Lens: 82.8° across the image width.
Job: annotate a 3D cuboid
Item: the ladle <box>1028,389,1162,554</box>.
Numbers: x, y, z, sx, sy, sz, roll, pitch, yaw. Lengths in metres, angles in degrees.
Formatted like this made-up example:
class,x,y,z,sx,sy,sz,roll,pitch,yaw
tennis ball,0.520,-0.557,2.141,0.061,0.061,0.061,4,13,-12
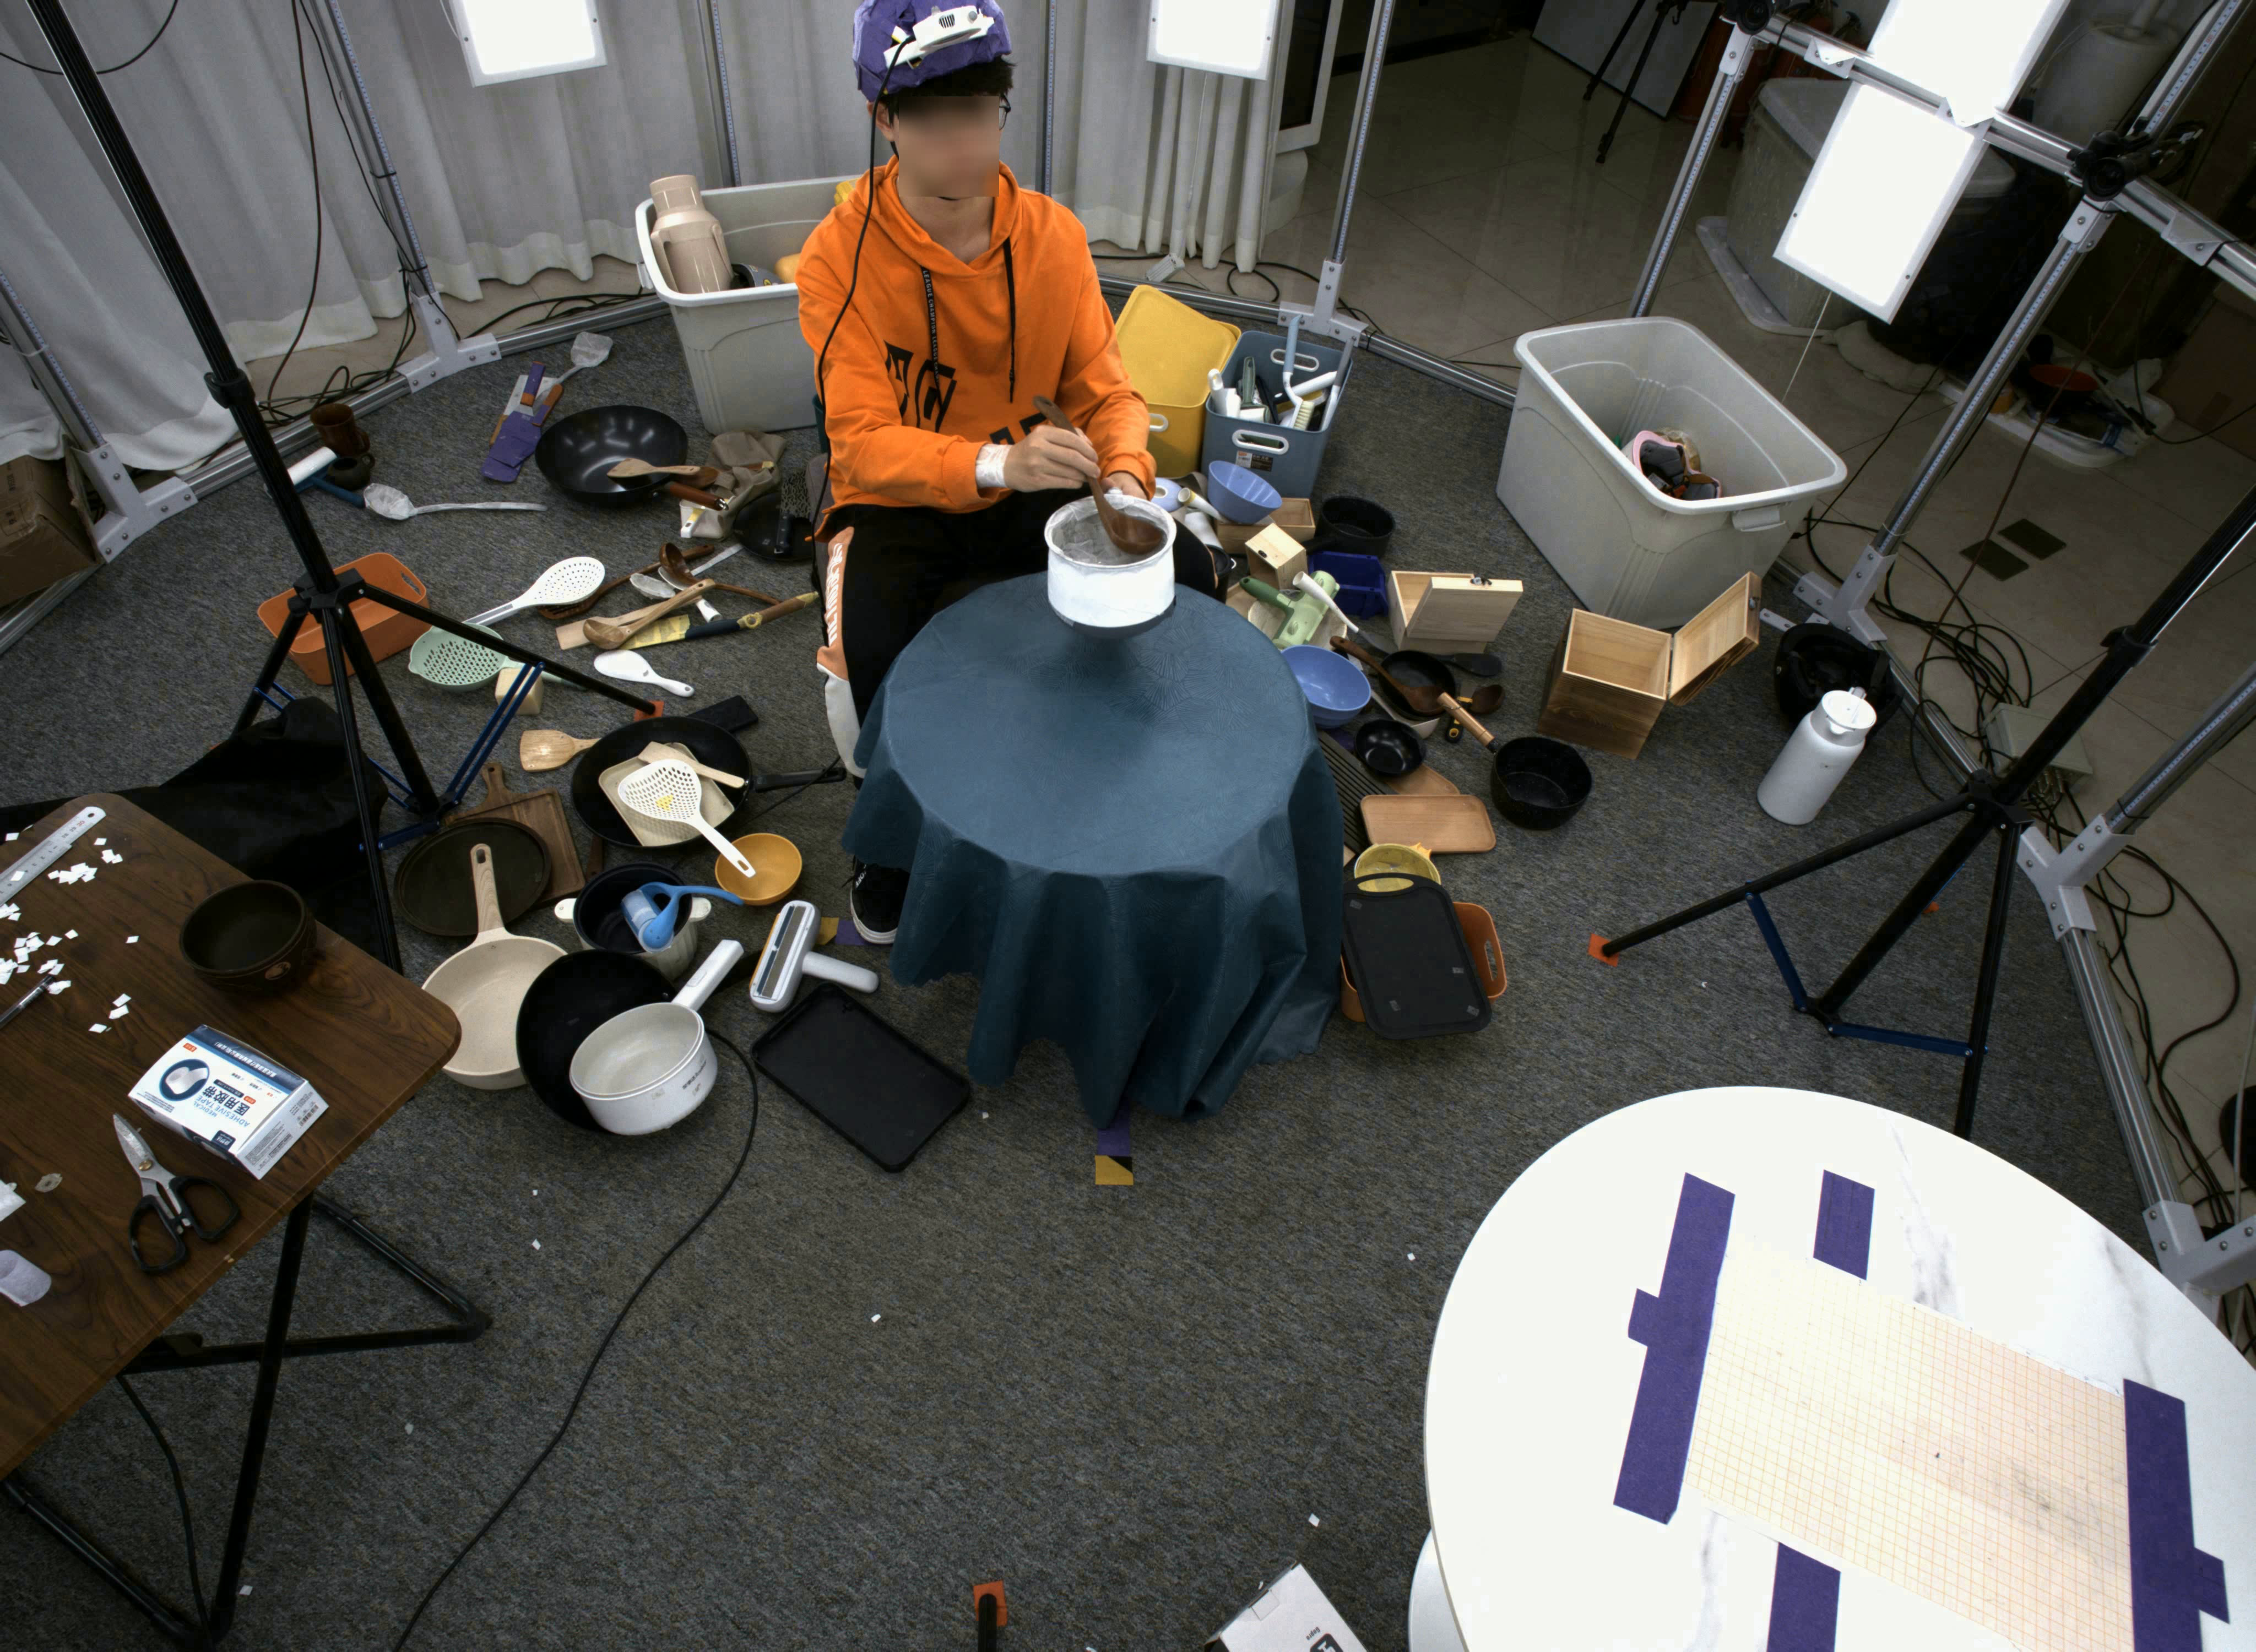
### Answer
class,x,y,z,sx,sy,sz,roll,pitch,yaw
ladle,-0.043,-0.479,1.733,0.258,0.065,0.077,59,36,-9

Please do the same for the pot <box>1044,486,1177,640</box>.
class,x,y,z,sx,sy,sz,roll,pitch,yaw
pot,-0.022,-0.371,1.779,0.178,0.133,0.239,1,45,1
